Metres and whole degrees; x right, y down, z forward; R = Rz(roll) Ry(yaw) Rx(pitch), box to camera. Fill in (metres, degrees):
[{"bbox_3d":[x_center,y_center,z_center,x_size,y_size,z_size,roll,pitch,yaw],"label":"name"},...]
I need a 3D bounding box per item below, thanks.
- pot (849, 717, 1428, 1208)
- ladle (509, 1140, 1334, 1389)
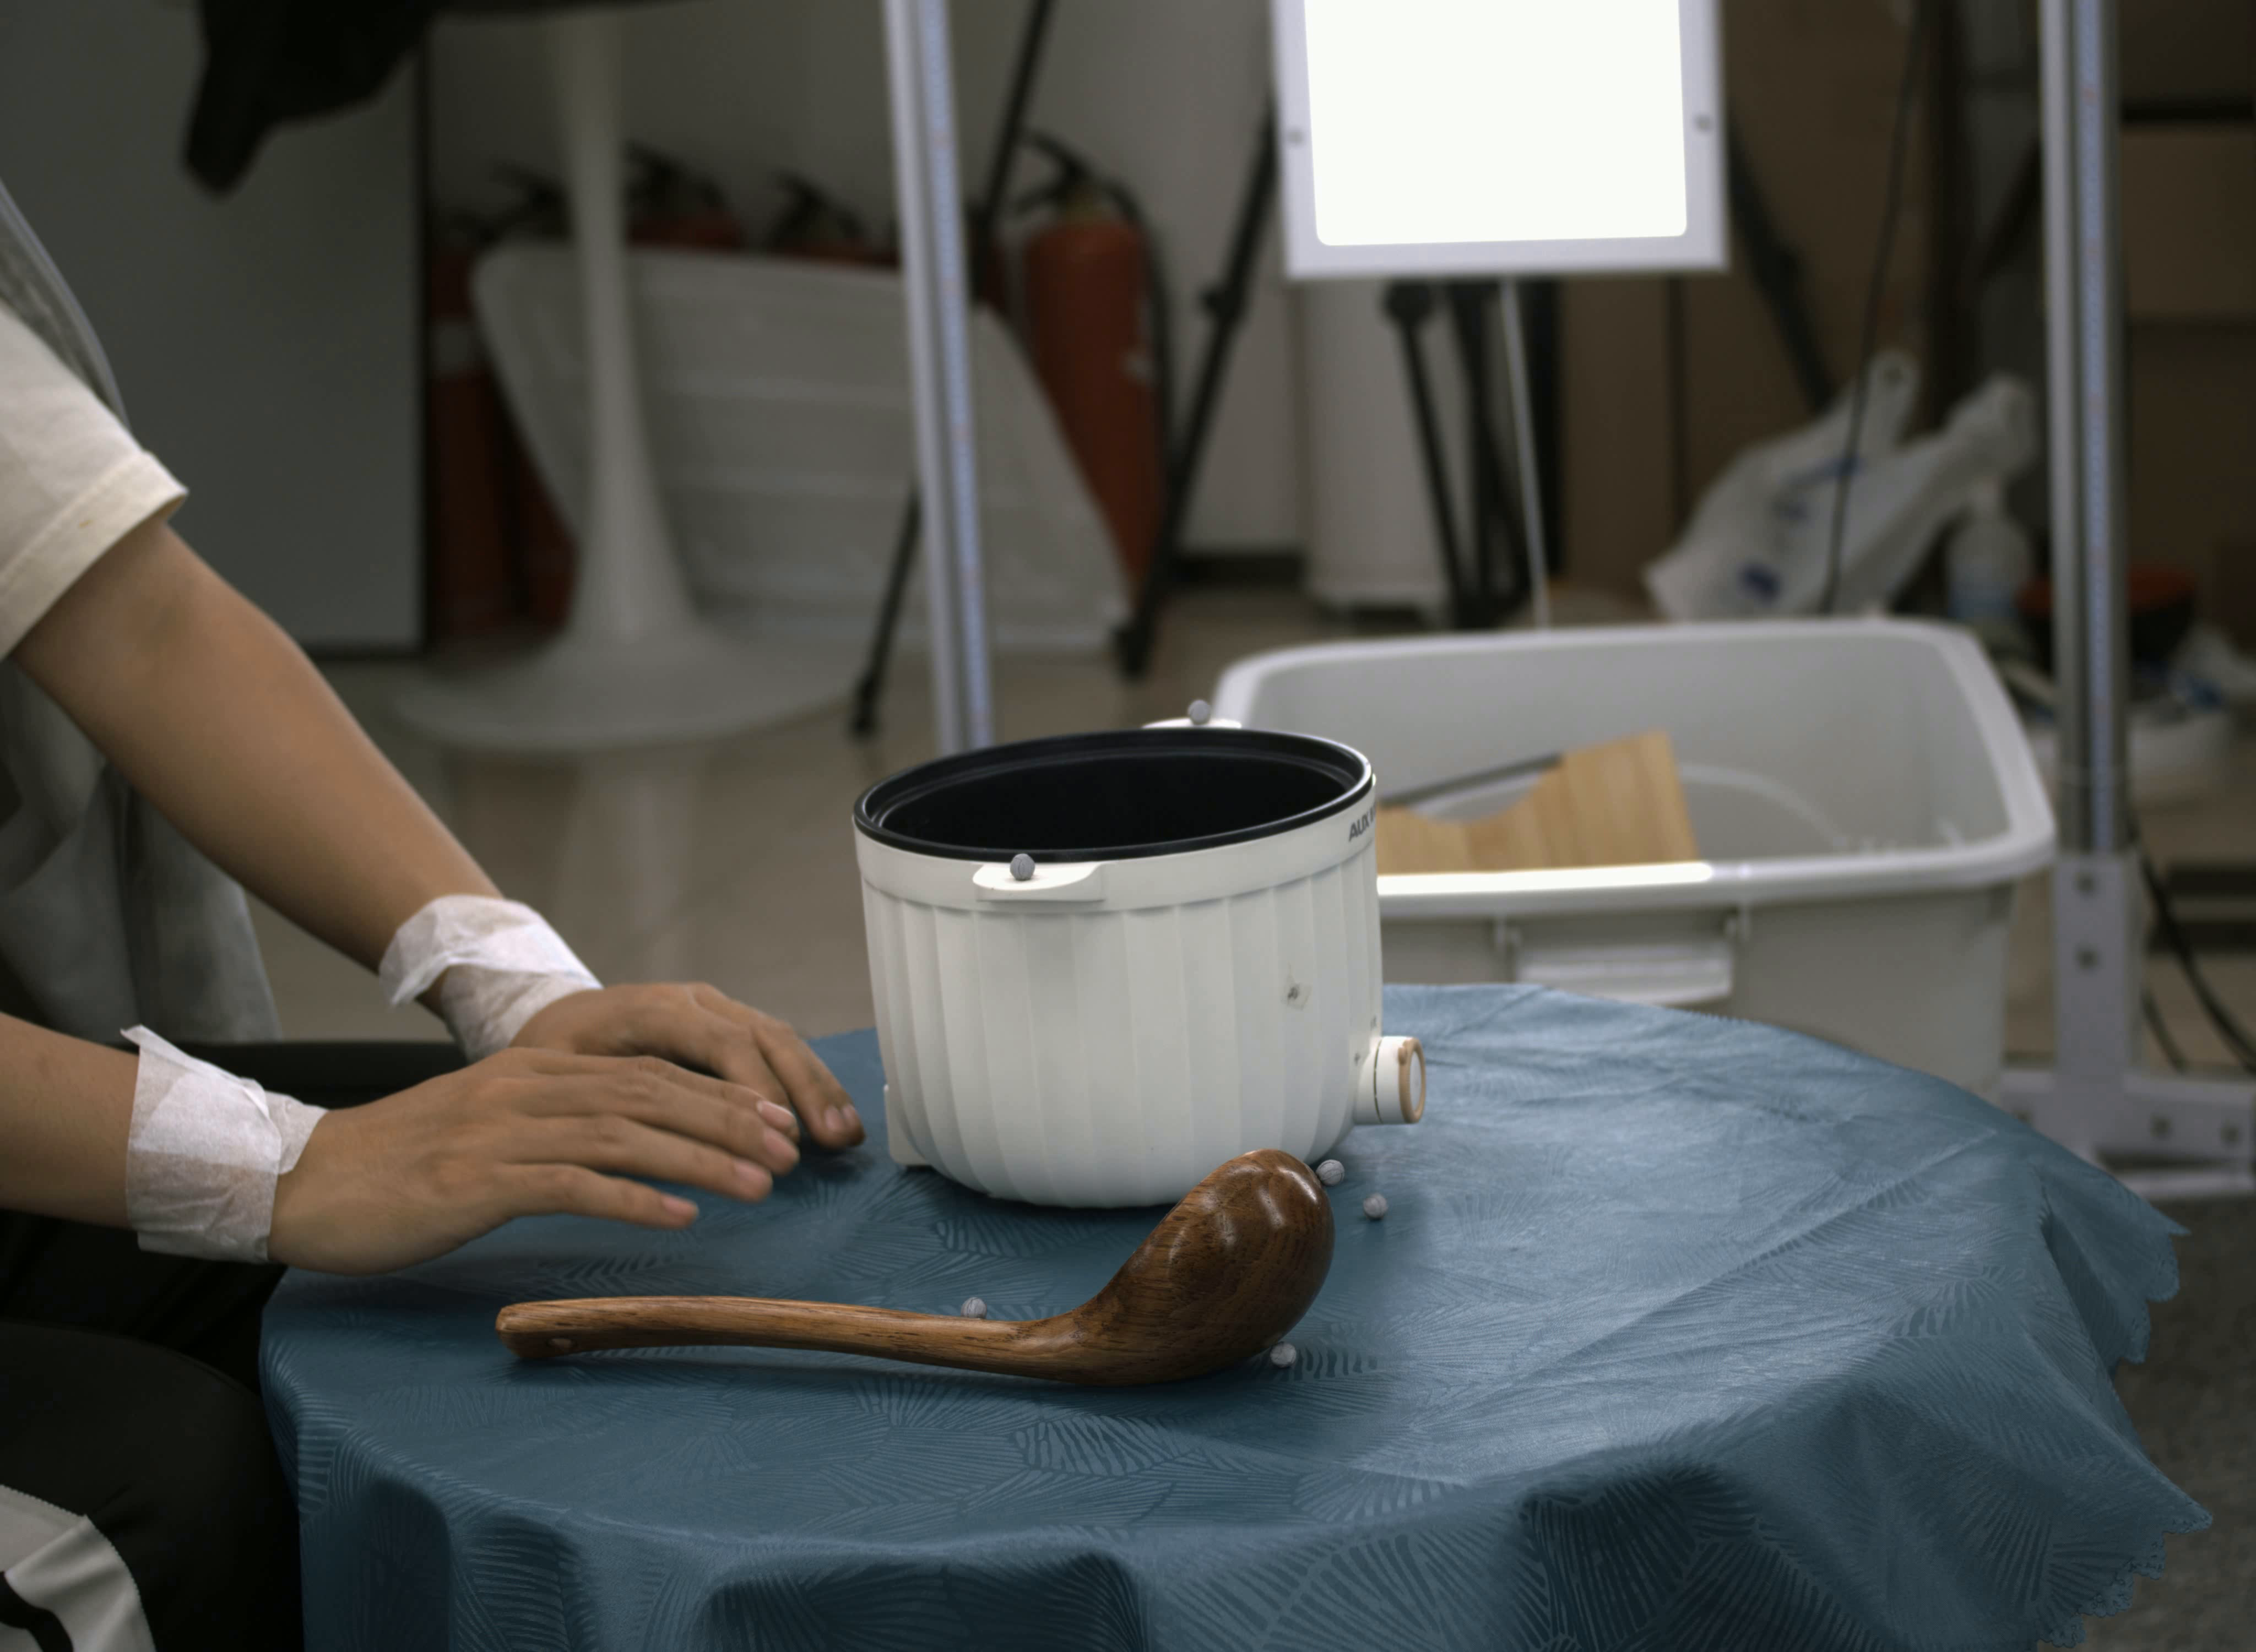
[{"bbox_3d":[0.005,0.050,1.916,0.193,0.143,0.237,-4,14,17],"label":"pot"},{"bbox_3d":[-0.068,0.137,1.739,0.278,0.081,0.076,-1,58,26],"label":"ladle"}]
